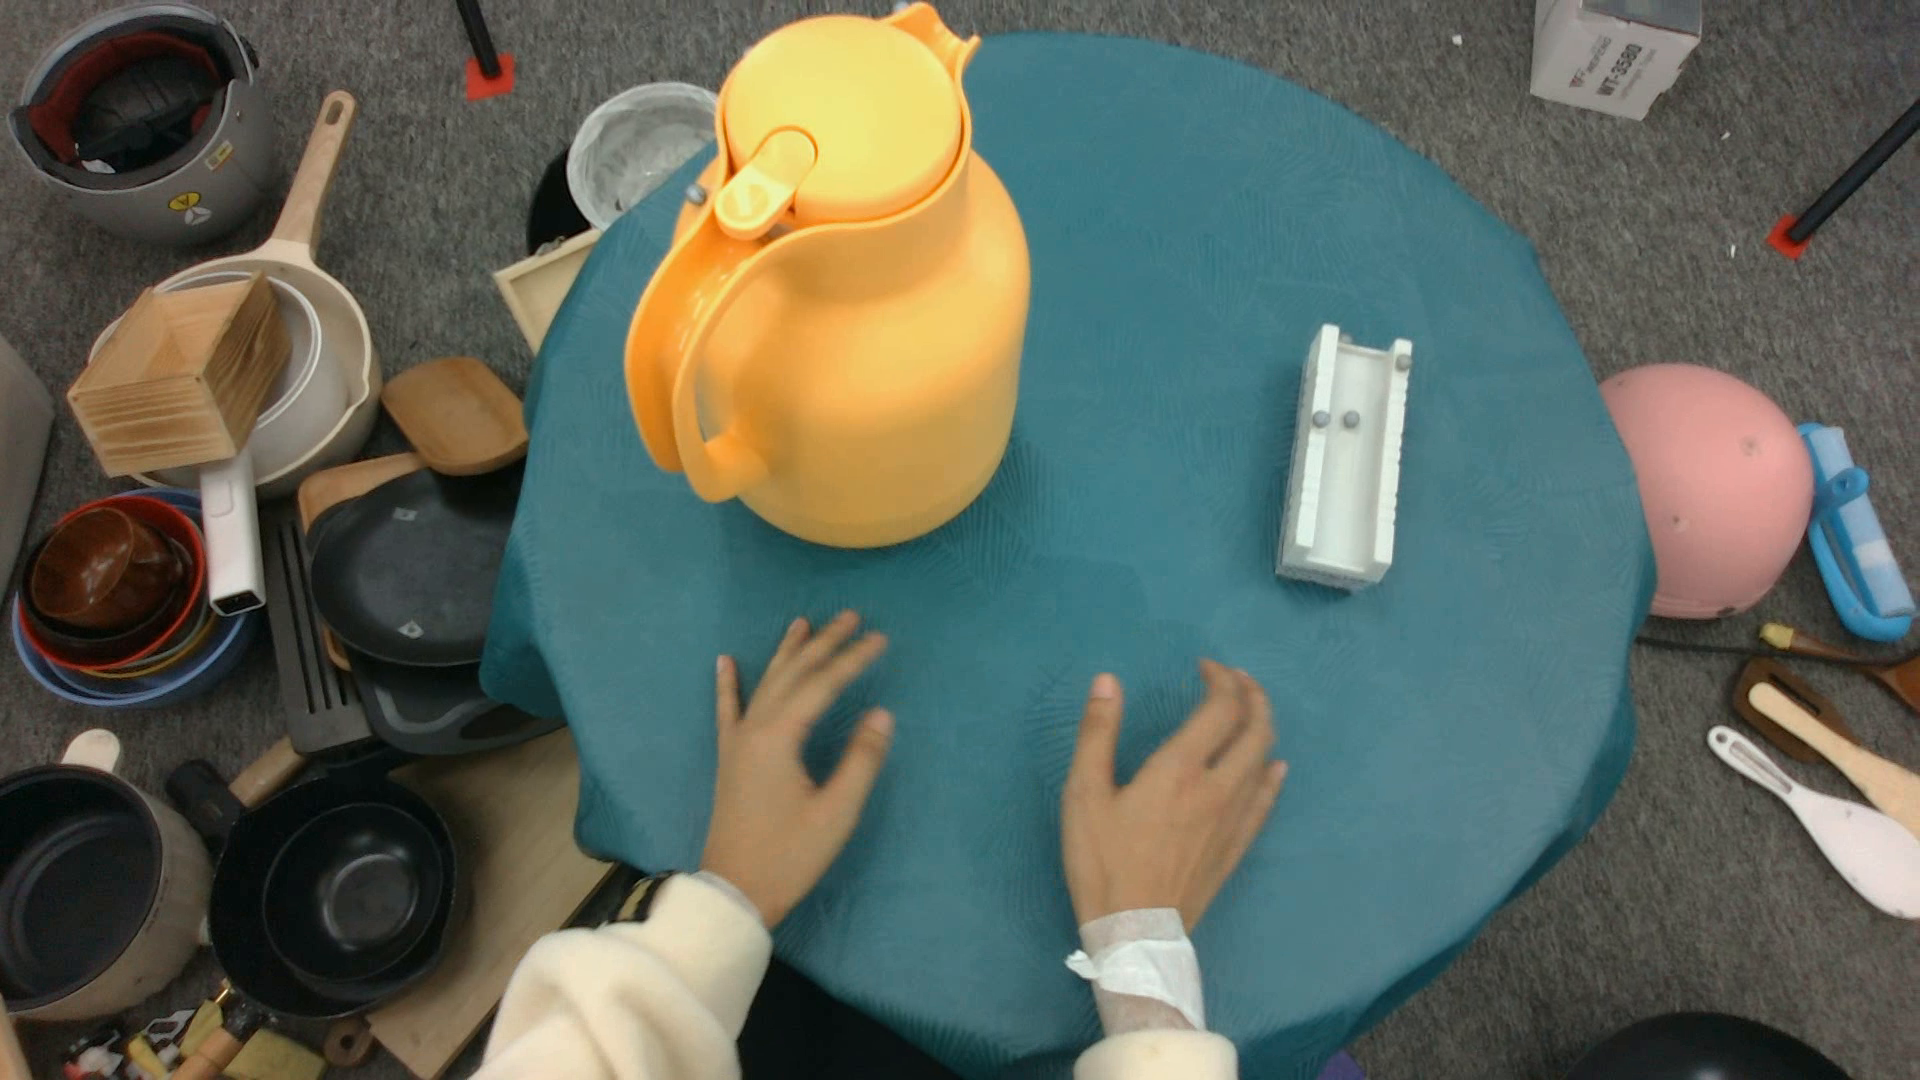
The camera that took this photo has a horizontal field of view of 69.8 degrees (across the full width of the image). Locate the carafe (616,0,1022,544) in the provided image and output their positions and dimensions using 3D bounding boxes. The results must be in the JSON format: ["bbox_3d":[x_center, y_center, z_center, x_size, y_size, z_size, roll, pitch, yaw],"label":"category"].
[{"bbox_3d":[-0.066,-0.102,0.619,0.163,0.259,0.203,36,67,15],"label":"carafe"}]

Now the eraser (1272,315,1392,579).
[{"bbox_3d":[0.197,-0.049,0.733,0.050,0.046,0.135,11,65,-2],"label":"eraser"}]
